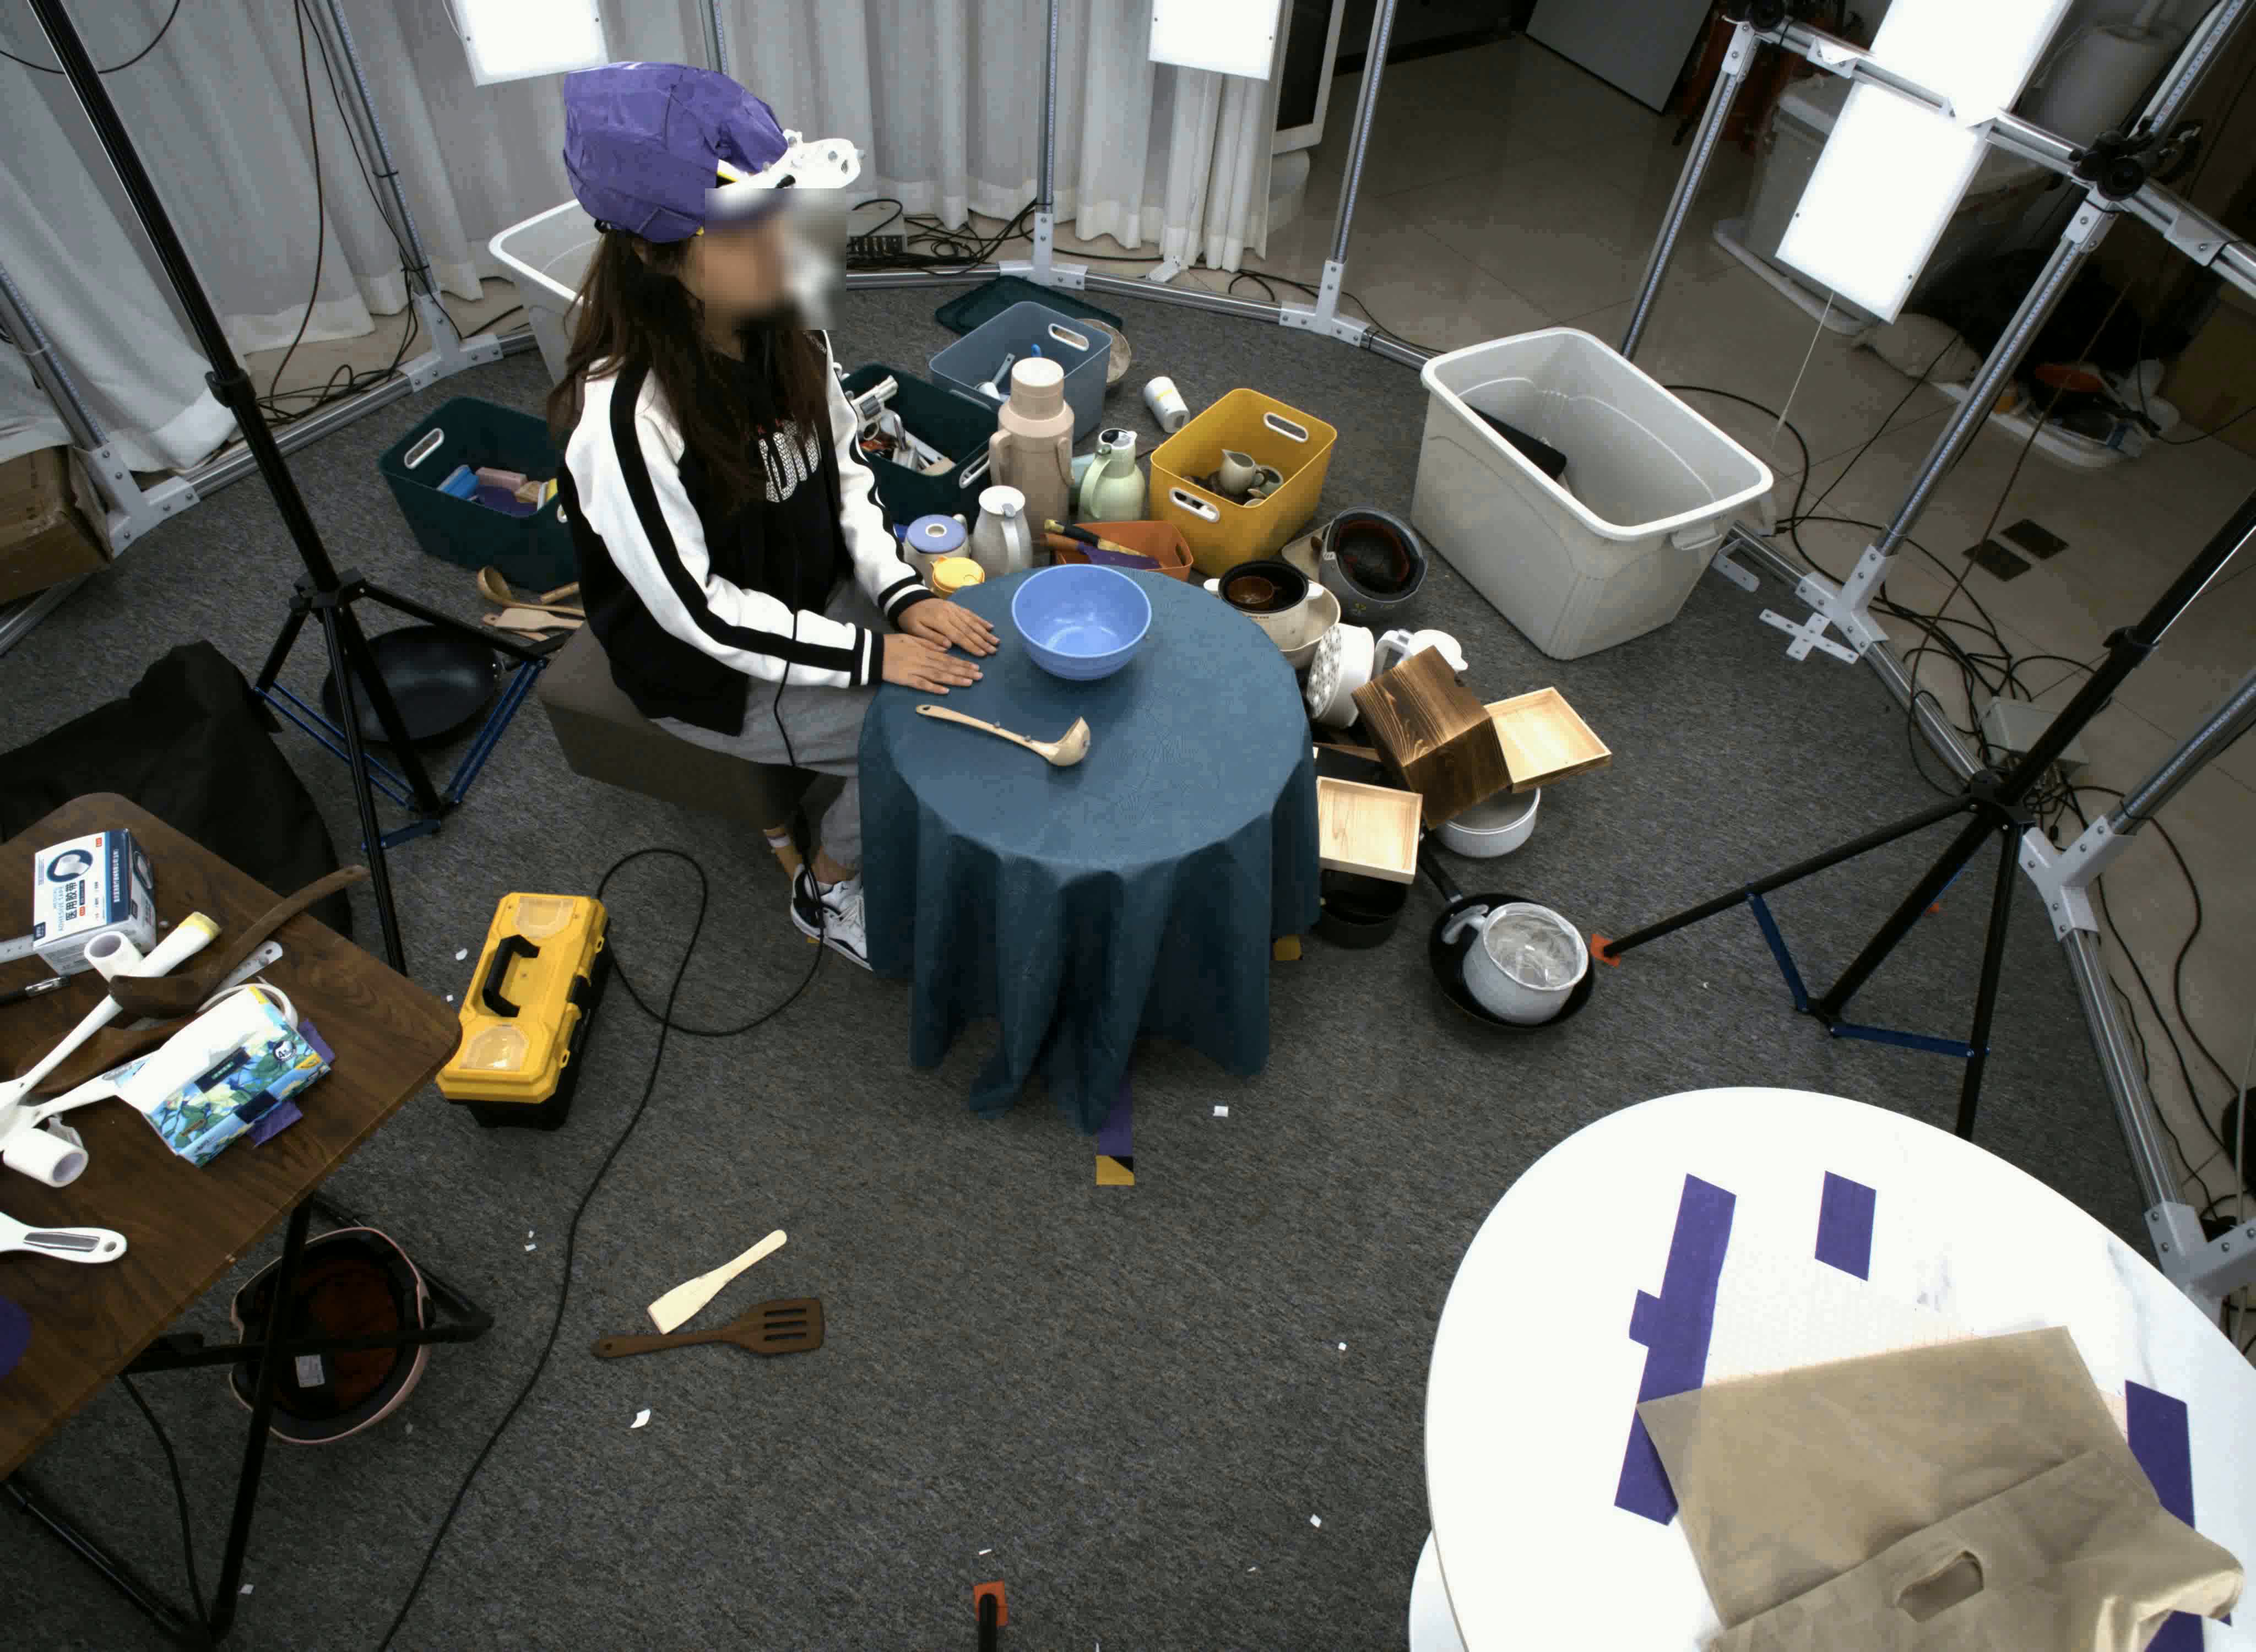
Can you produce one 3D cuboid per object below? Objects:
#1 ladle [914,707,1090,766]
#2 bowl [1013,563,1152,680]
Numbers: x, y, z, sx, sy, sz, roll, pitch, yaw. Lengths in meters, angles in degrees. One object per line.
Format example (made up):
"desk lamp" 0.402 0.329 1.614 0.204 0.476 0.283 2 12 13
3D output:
"ladle" -0.175 -0.145 1.737 0.255 0.071 0.073 17 50 11
"bowl" -0.068 -0.278 1.844 0.196 0.093 0.201 4 49 -4
